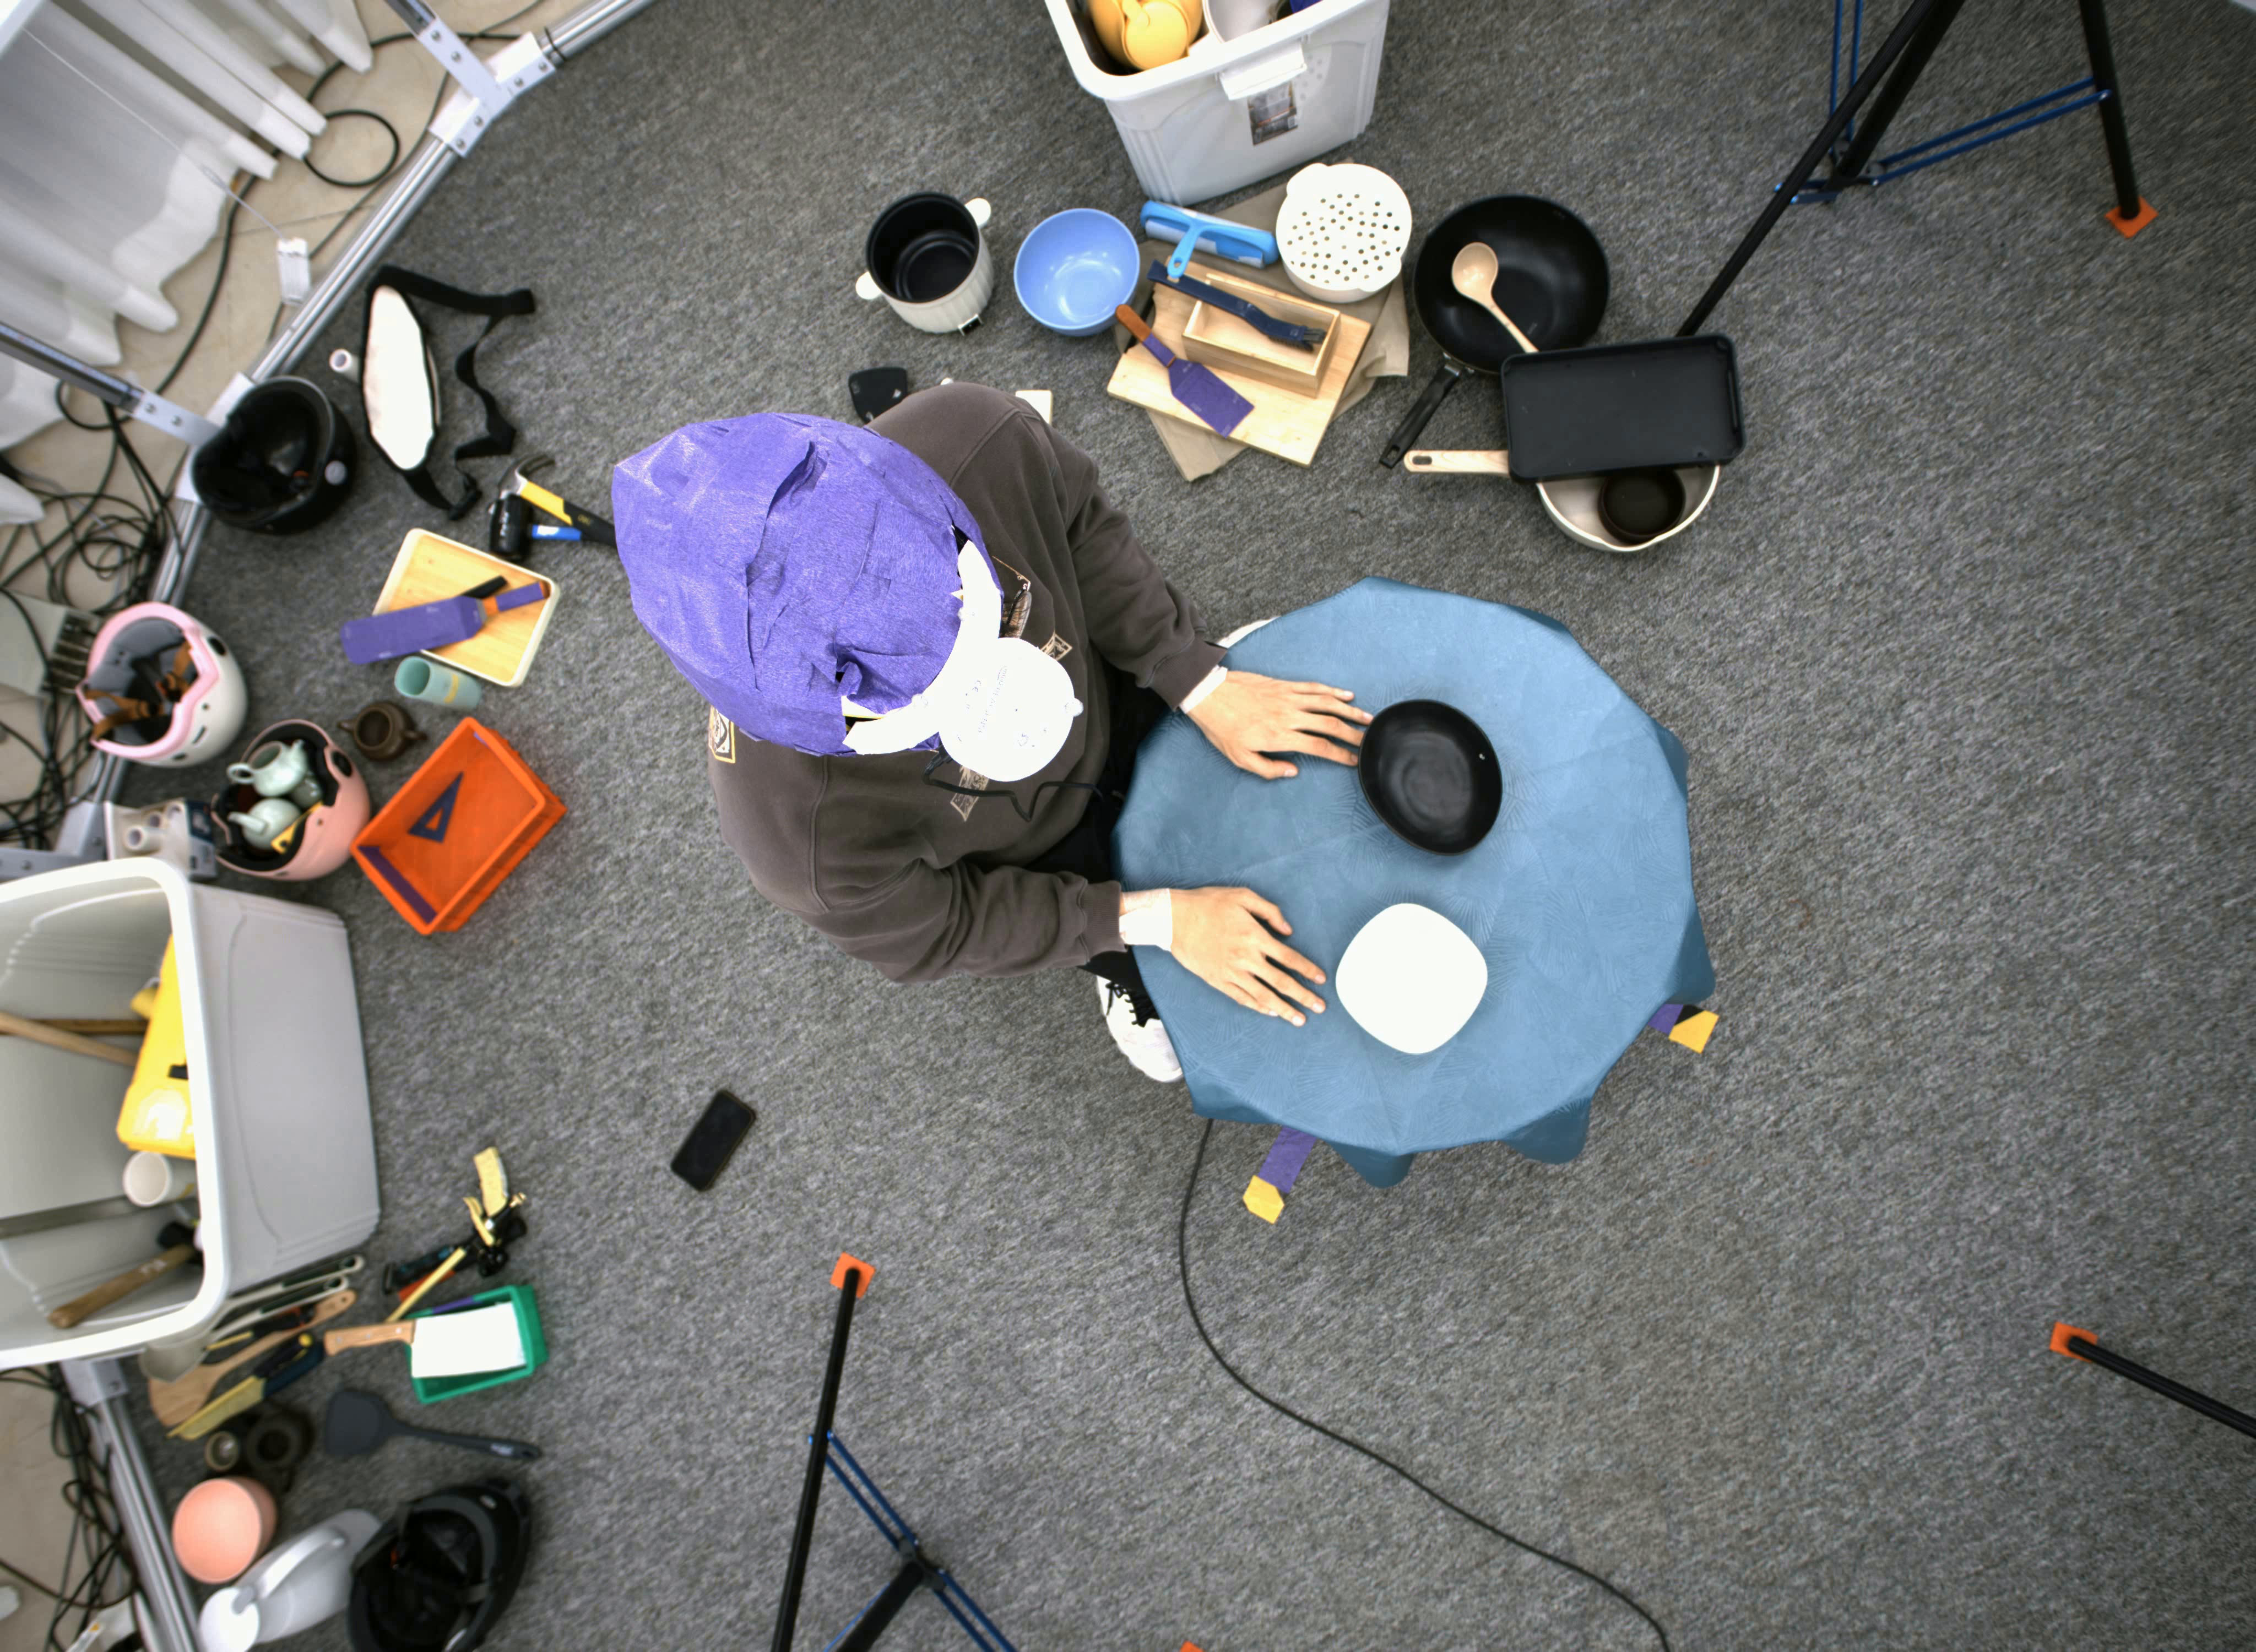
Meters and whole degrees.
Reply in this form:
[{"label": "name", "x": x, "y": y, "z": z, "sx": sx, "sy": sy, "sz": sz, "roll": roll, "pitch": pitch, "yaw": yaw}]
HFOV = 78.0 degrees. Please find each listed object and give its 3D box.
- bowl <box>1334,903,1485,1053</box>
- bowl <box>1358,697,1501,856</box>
[{"label": "bowl", "x": 0.288, "y": 0.155, "z": 1.421, "sx": 0.152, "sy": 0.059, "sz": 0.150, "roll": -1, "pitch": 86, "yaw": 9}, {"label": "bowl", "x": 0.312, "y": -0.051, "z": 1.424, "sx": 0.138, "sy": 0.066, "sz": 0.169, "roll": -31, "pitch": 83, "yaw": 7}]
